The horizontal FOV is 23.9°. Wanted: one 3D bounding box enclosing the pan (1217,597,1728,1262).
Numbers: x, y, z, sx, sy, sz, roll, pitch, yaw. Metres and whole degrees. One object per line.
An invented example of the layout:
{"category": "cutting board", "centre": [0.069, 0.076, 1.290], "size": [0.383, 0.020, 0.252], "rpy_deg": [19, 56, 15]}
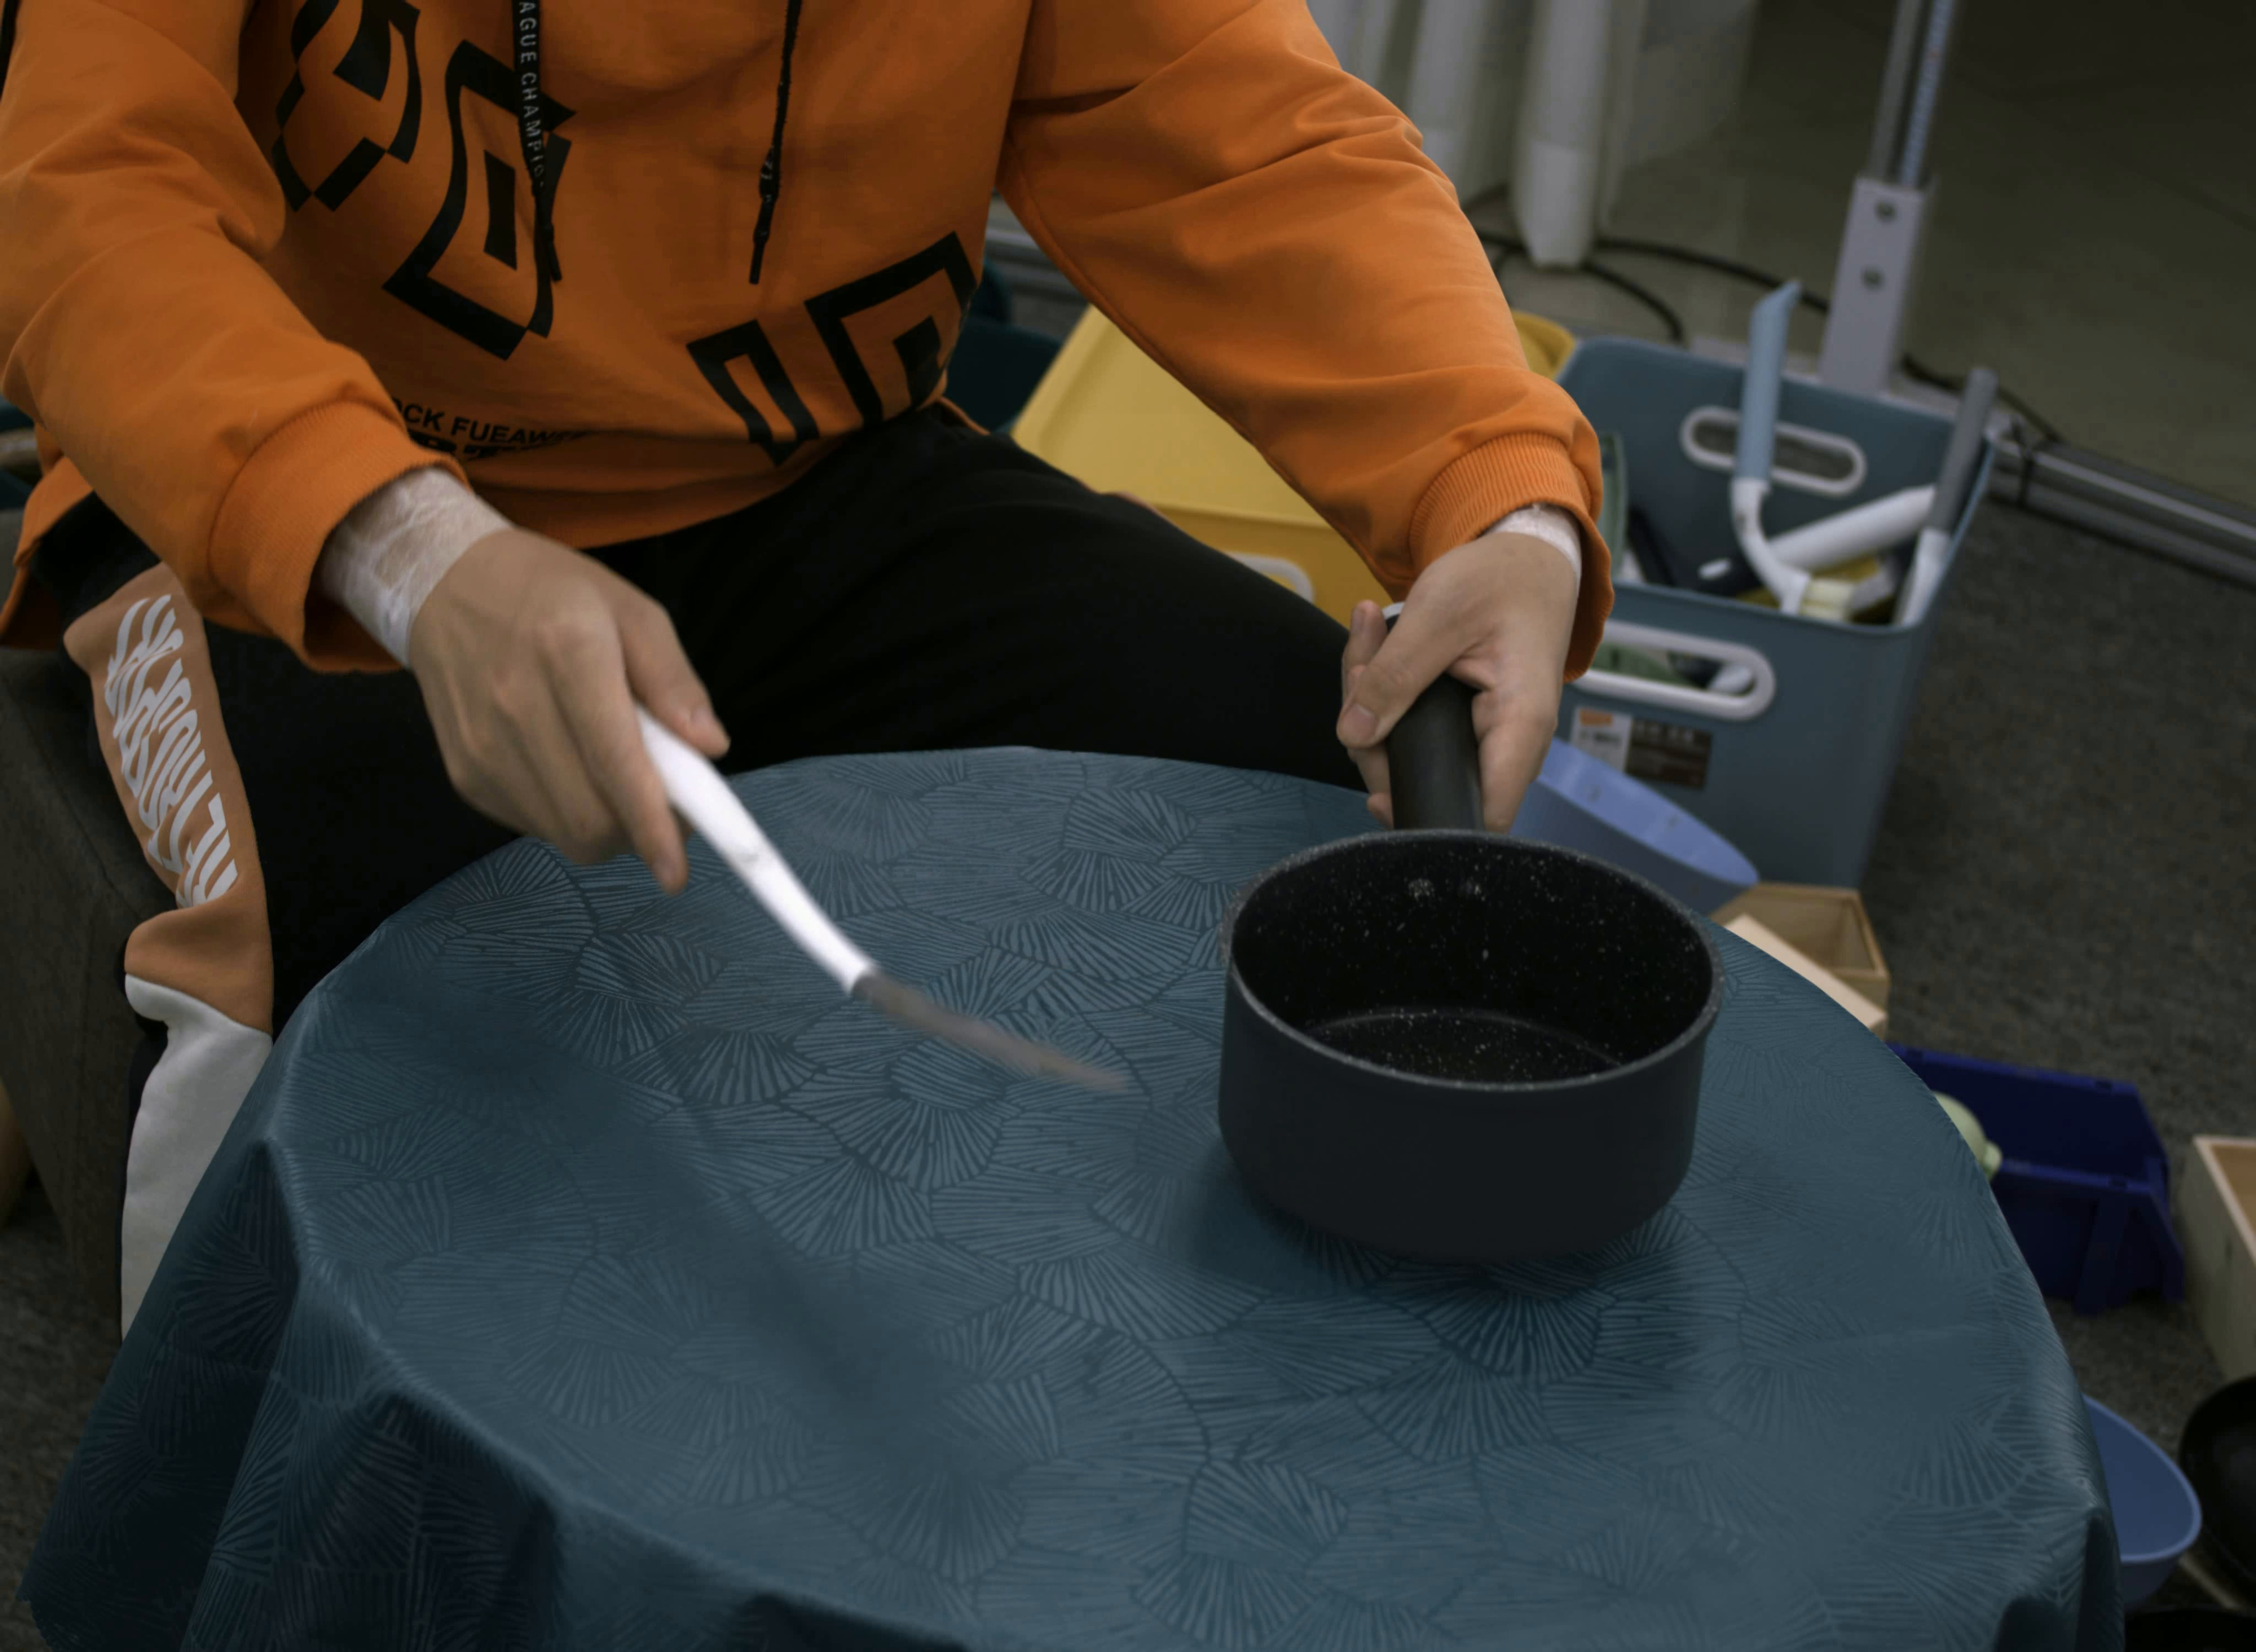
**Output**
{"category": "pan", "centre": [0.114, 0.032, 1.870], "size": [0.171, 0.086, 0.331], "rpy_deg": [4, 30, -1]}

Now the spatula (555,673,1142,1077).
{"category": "spatula", "centre": [-0.099, 0.022, 1.735], "size": [0.058, 0.032, 0.290], "rpy_deg": [20, 11, -45]}
